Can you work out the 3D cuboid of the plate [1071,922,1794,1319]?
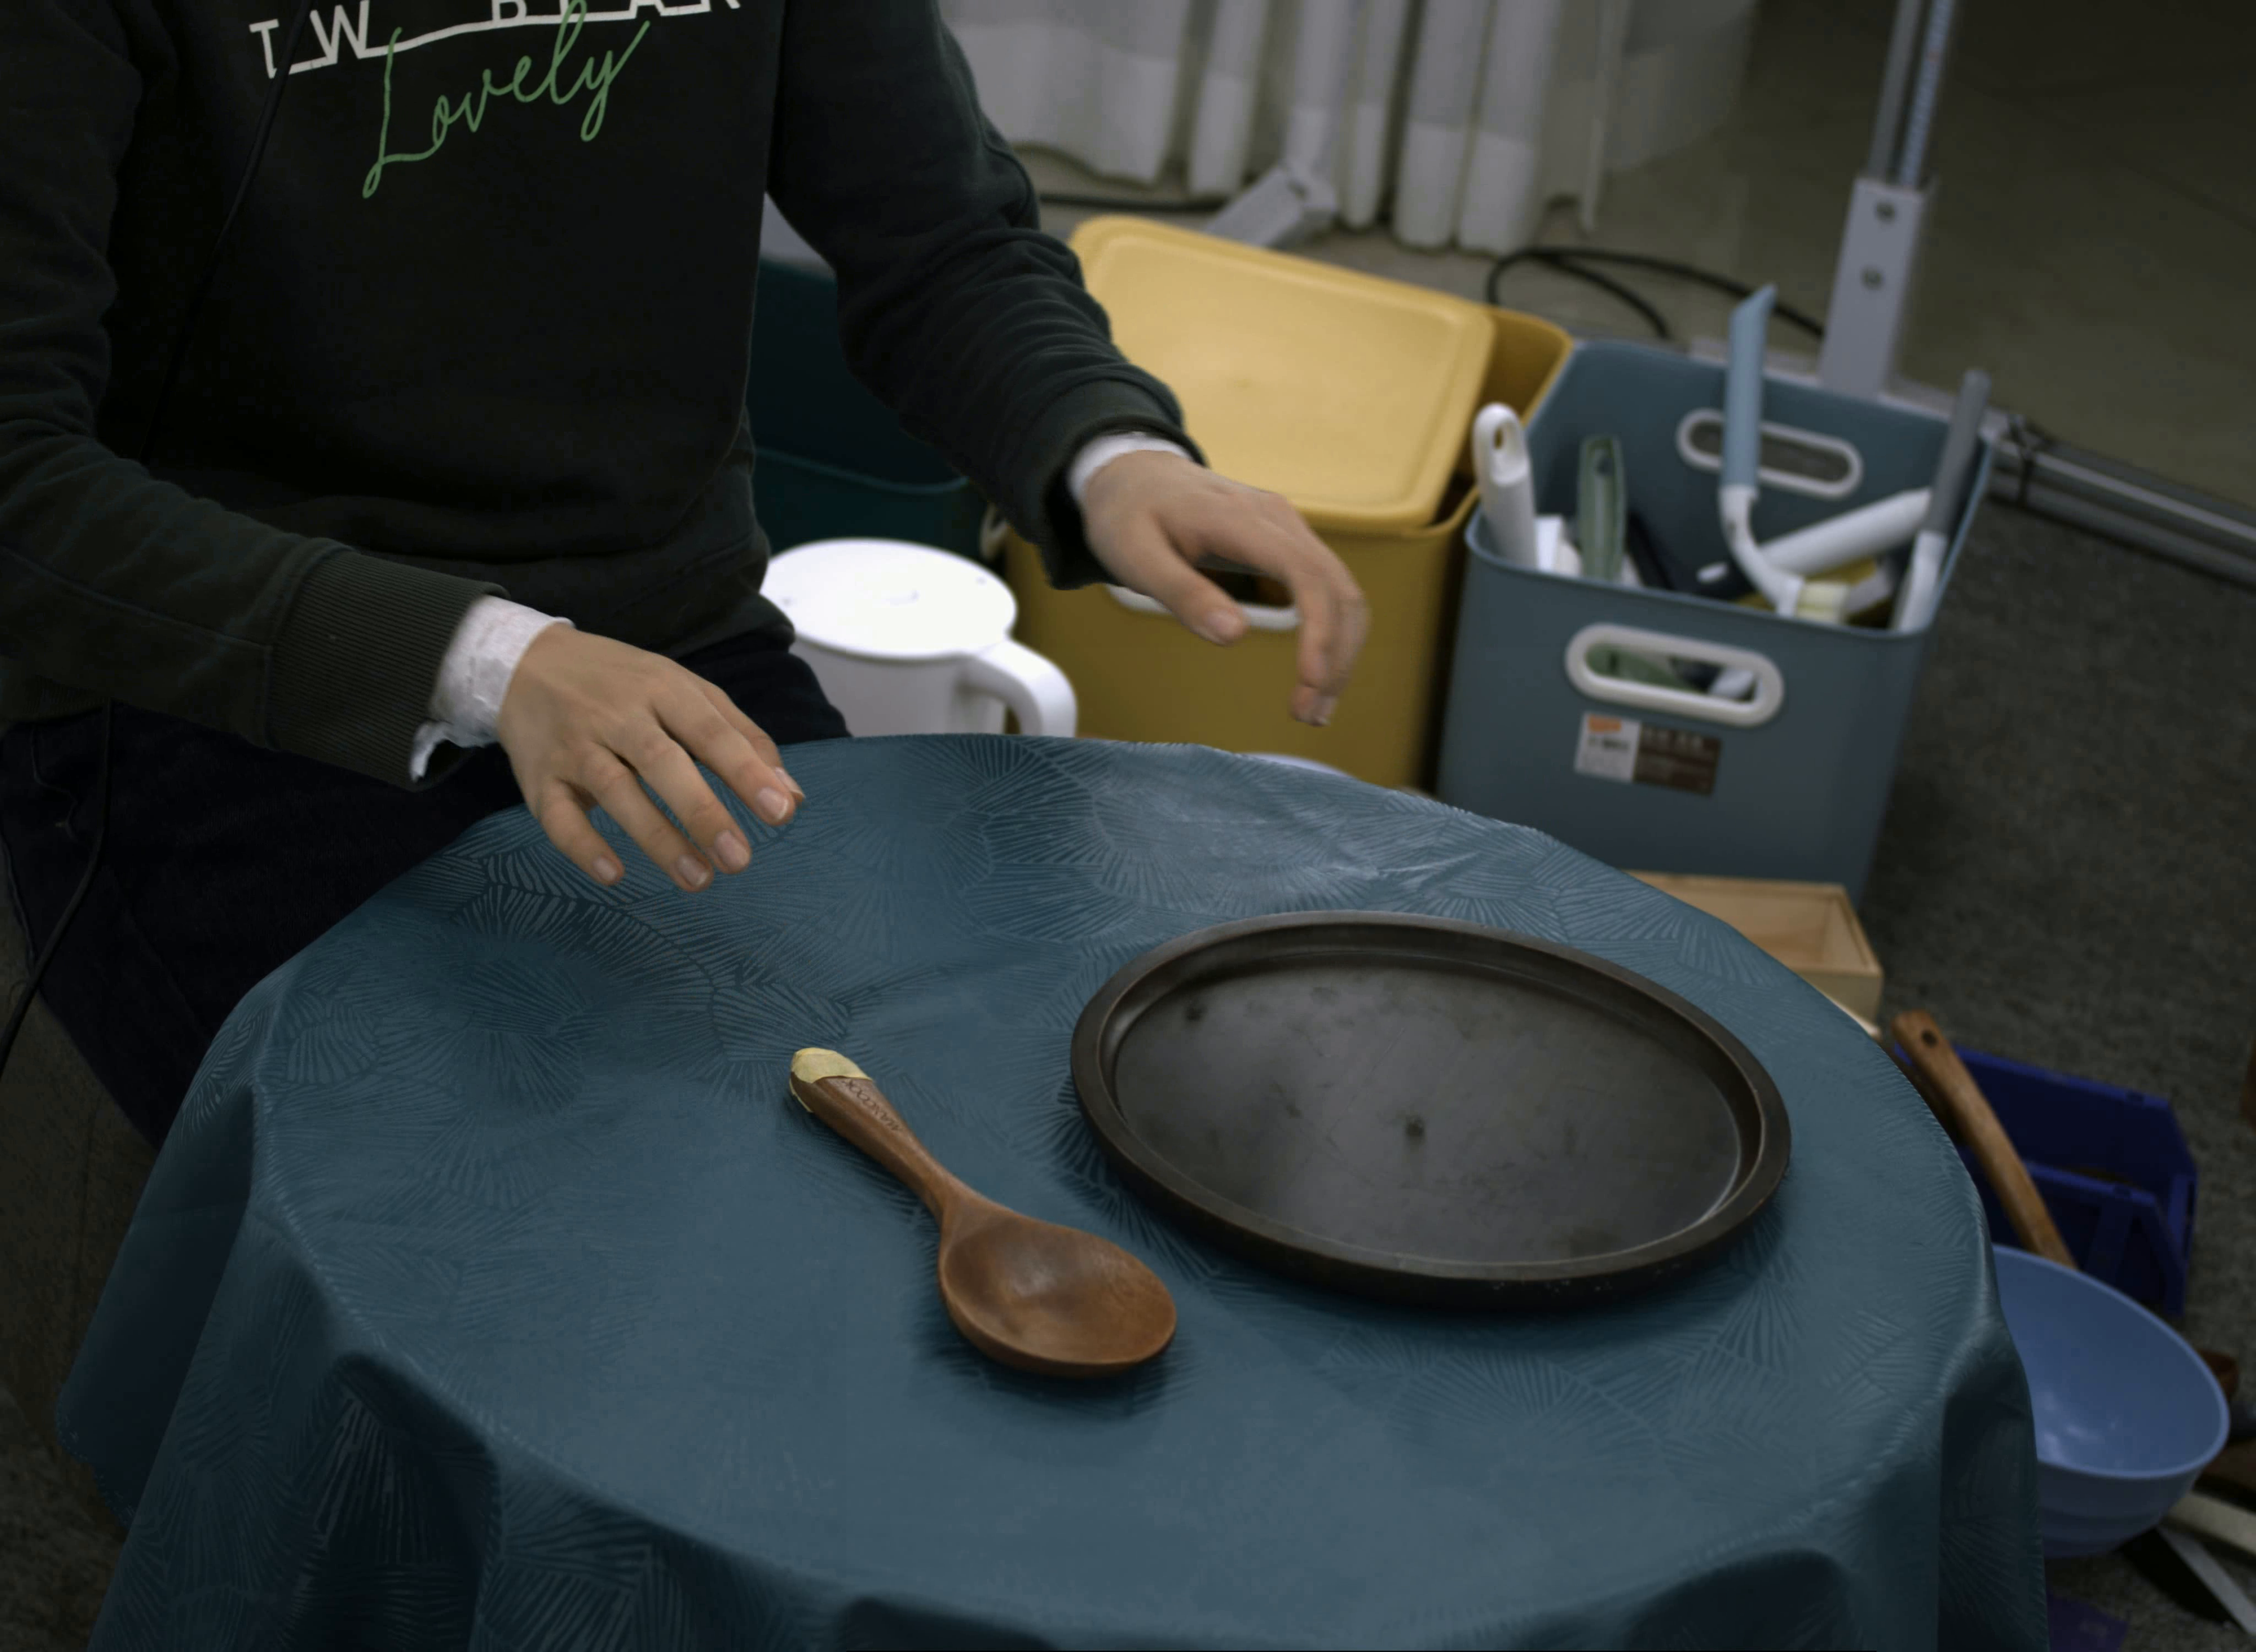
[{"bbox_3d":[0.105,0.100,1.848,0.254,0.029,0.256,6,27,-3],"label":"plate"}]

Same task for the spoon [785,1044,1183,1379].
[{"bbox_3d":[-0.056,0.128,1.761,0.075,0.017,0.218,-11,31,-30],"label":"spoon"}]
